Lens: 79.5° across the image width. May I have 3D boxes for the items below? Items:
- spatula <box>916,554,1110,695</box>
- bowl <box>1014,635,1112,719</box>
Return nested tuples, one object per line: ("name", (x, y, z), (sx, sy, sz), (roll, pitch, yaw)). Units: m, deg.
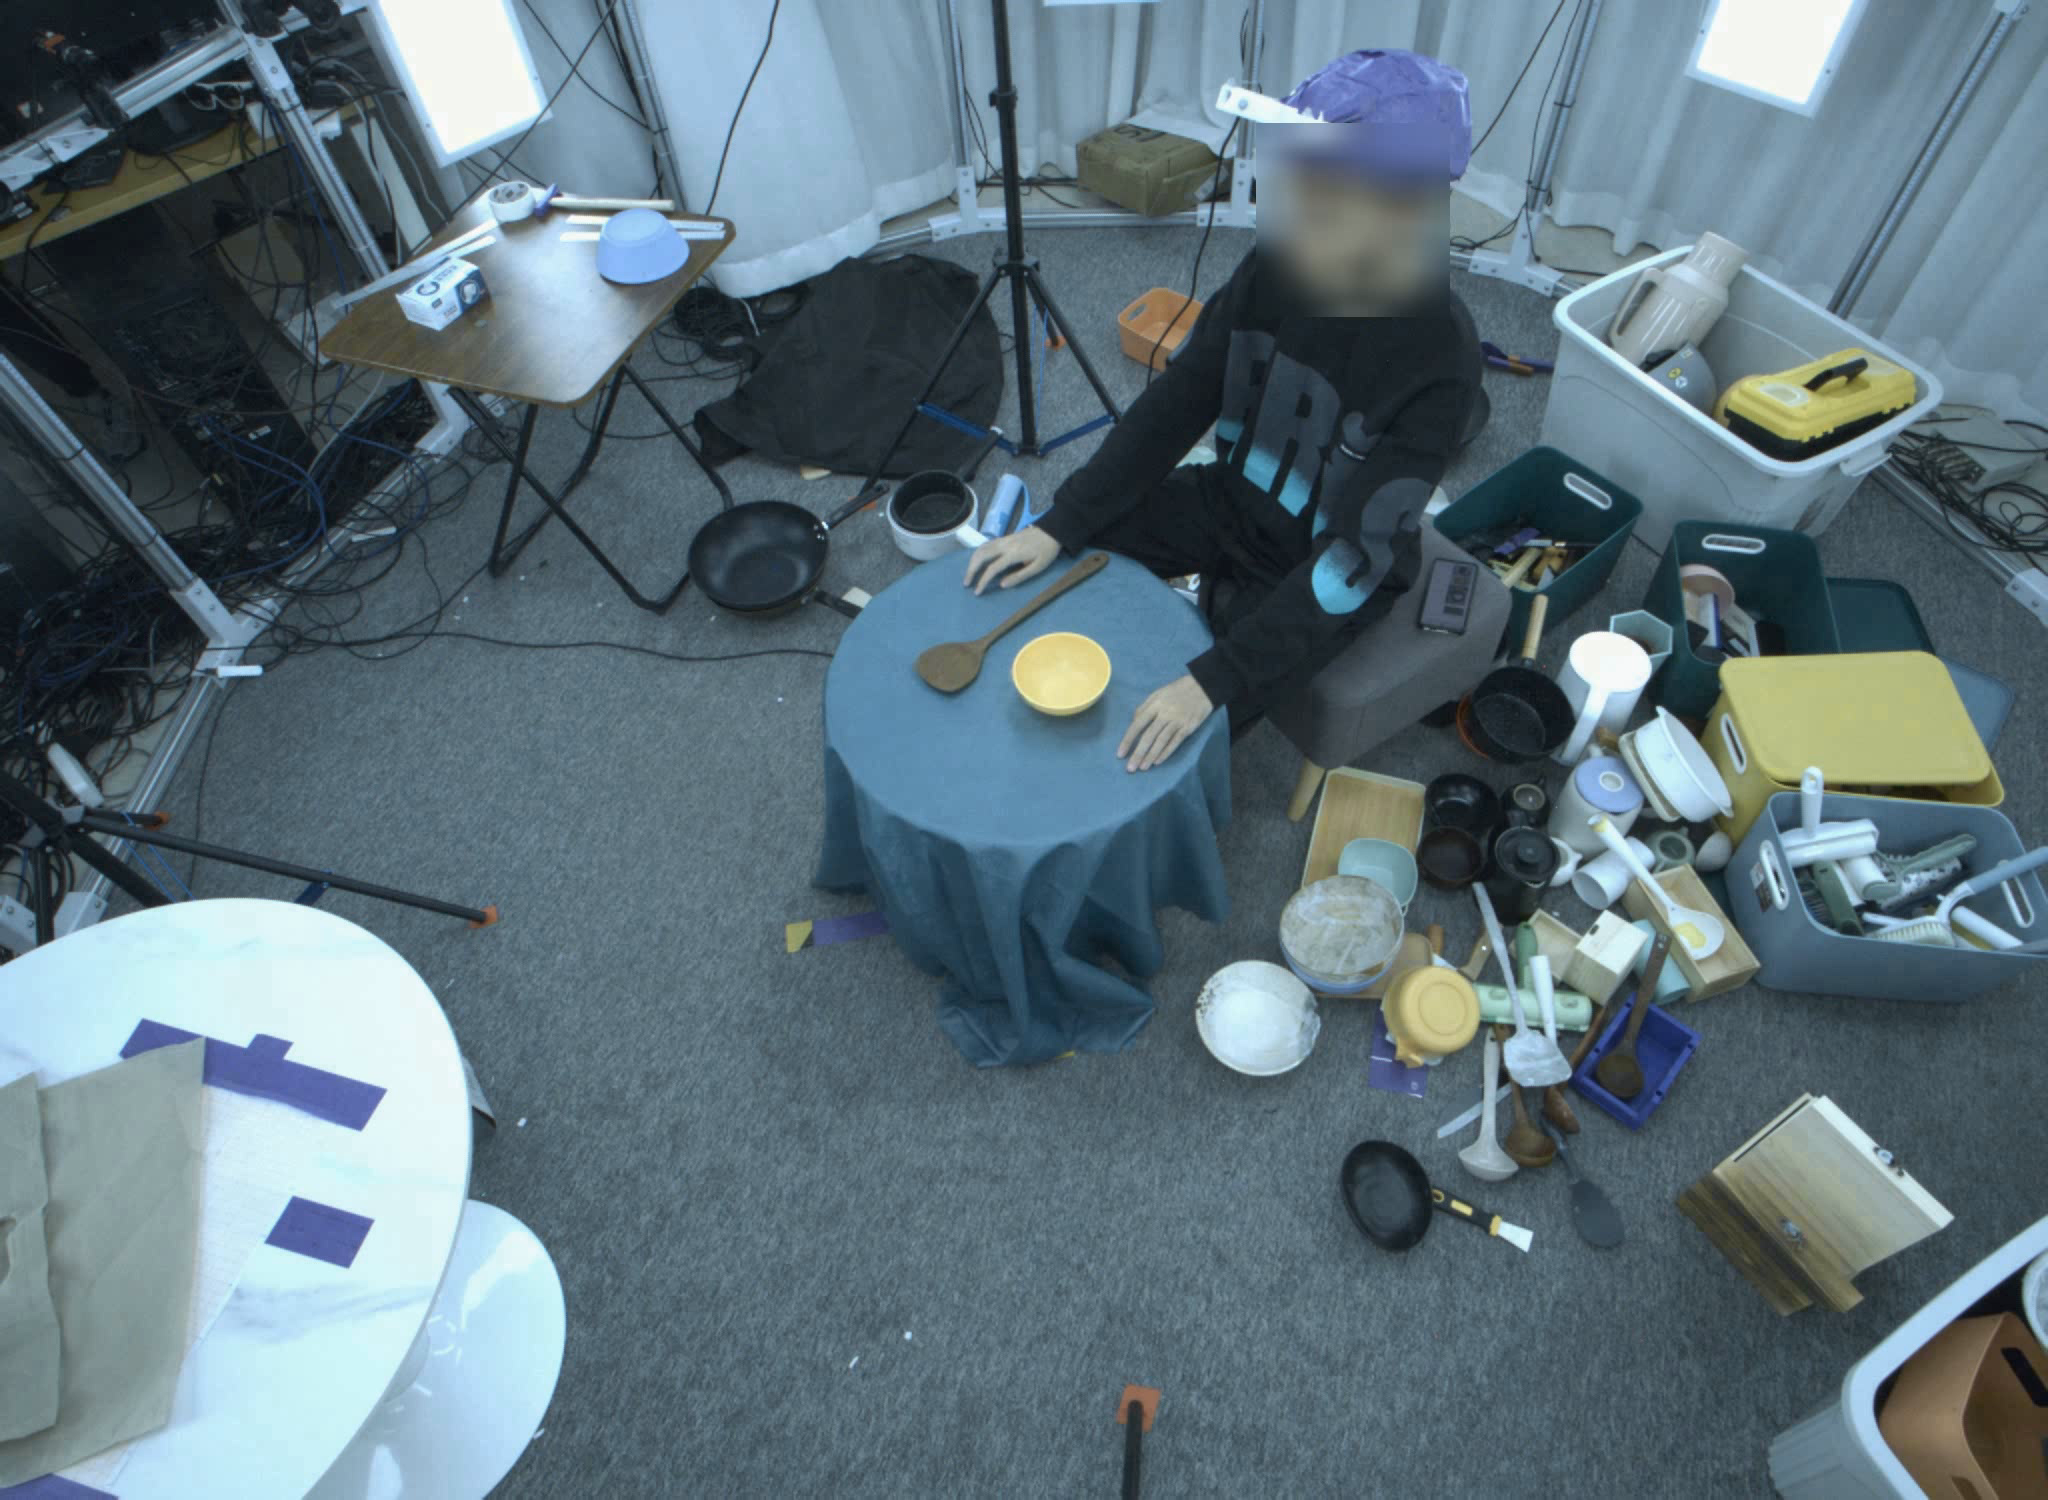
("spatula", (-0.005, -0.209, 1.937), (0.389, 0.016, 0.094), (-38, 63, -22))
("bowl", (0.057, -0.097, 1.830), (0.145, 0.060, 0.144), (1, 56, 0))
